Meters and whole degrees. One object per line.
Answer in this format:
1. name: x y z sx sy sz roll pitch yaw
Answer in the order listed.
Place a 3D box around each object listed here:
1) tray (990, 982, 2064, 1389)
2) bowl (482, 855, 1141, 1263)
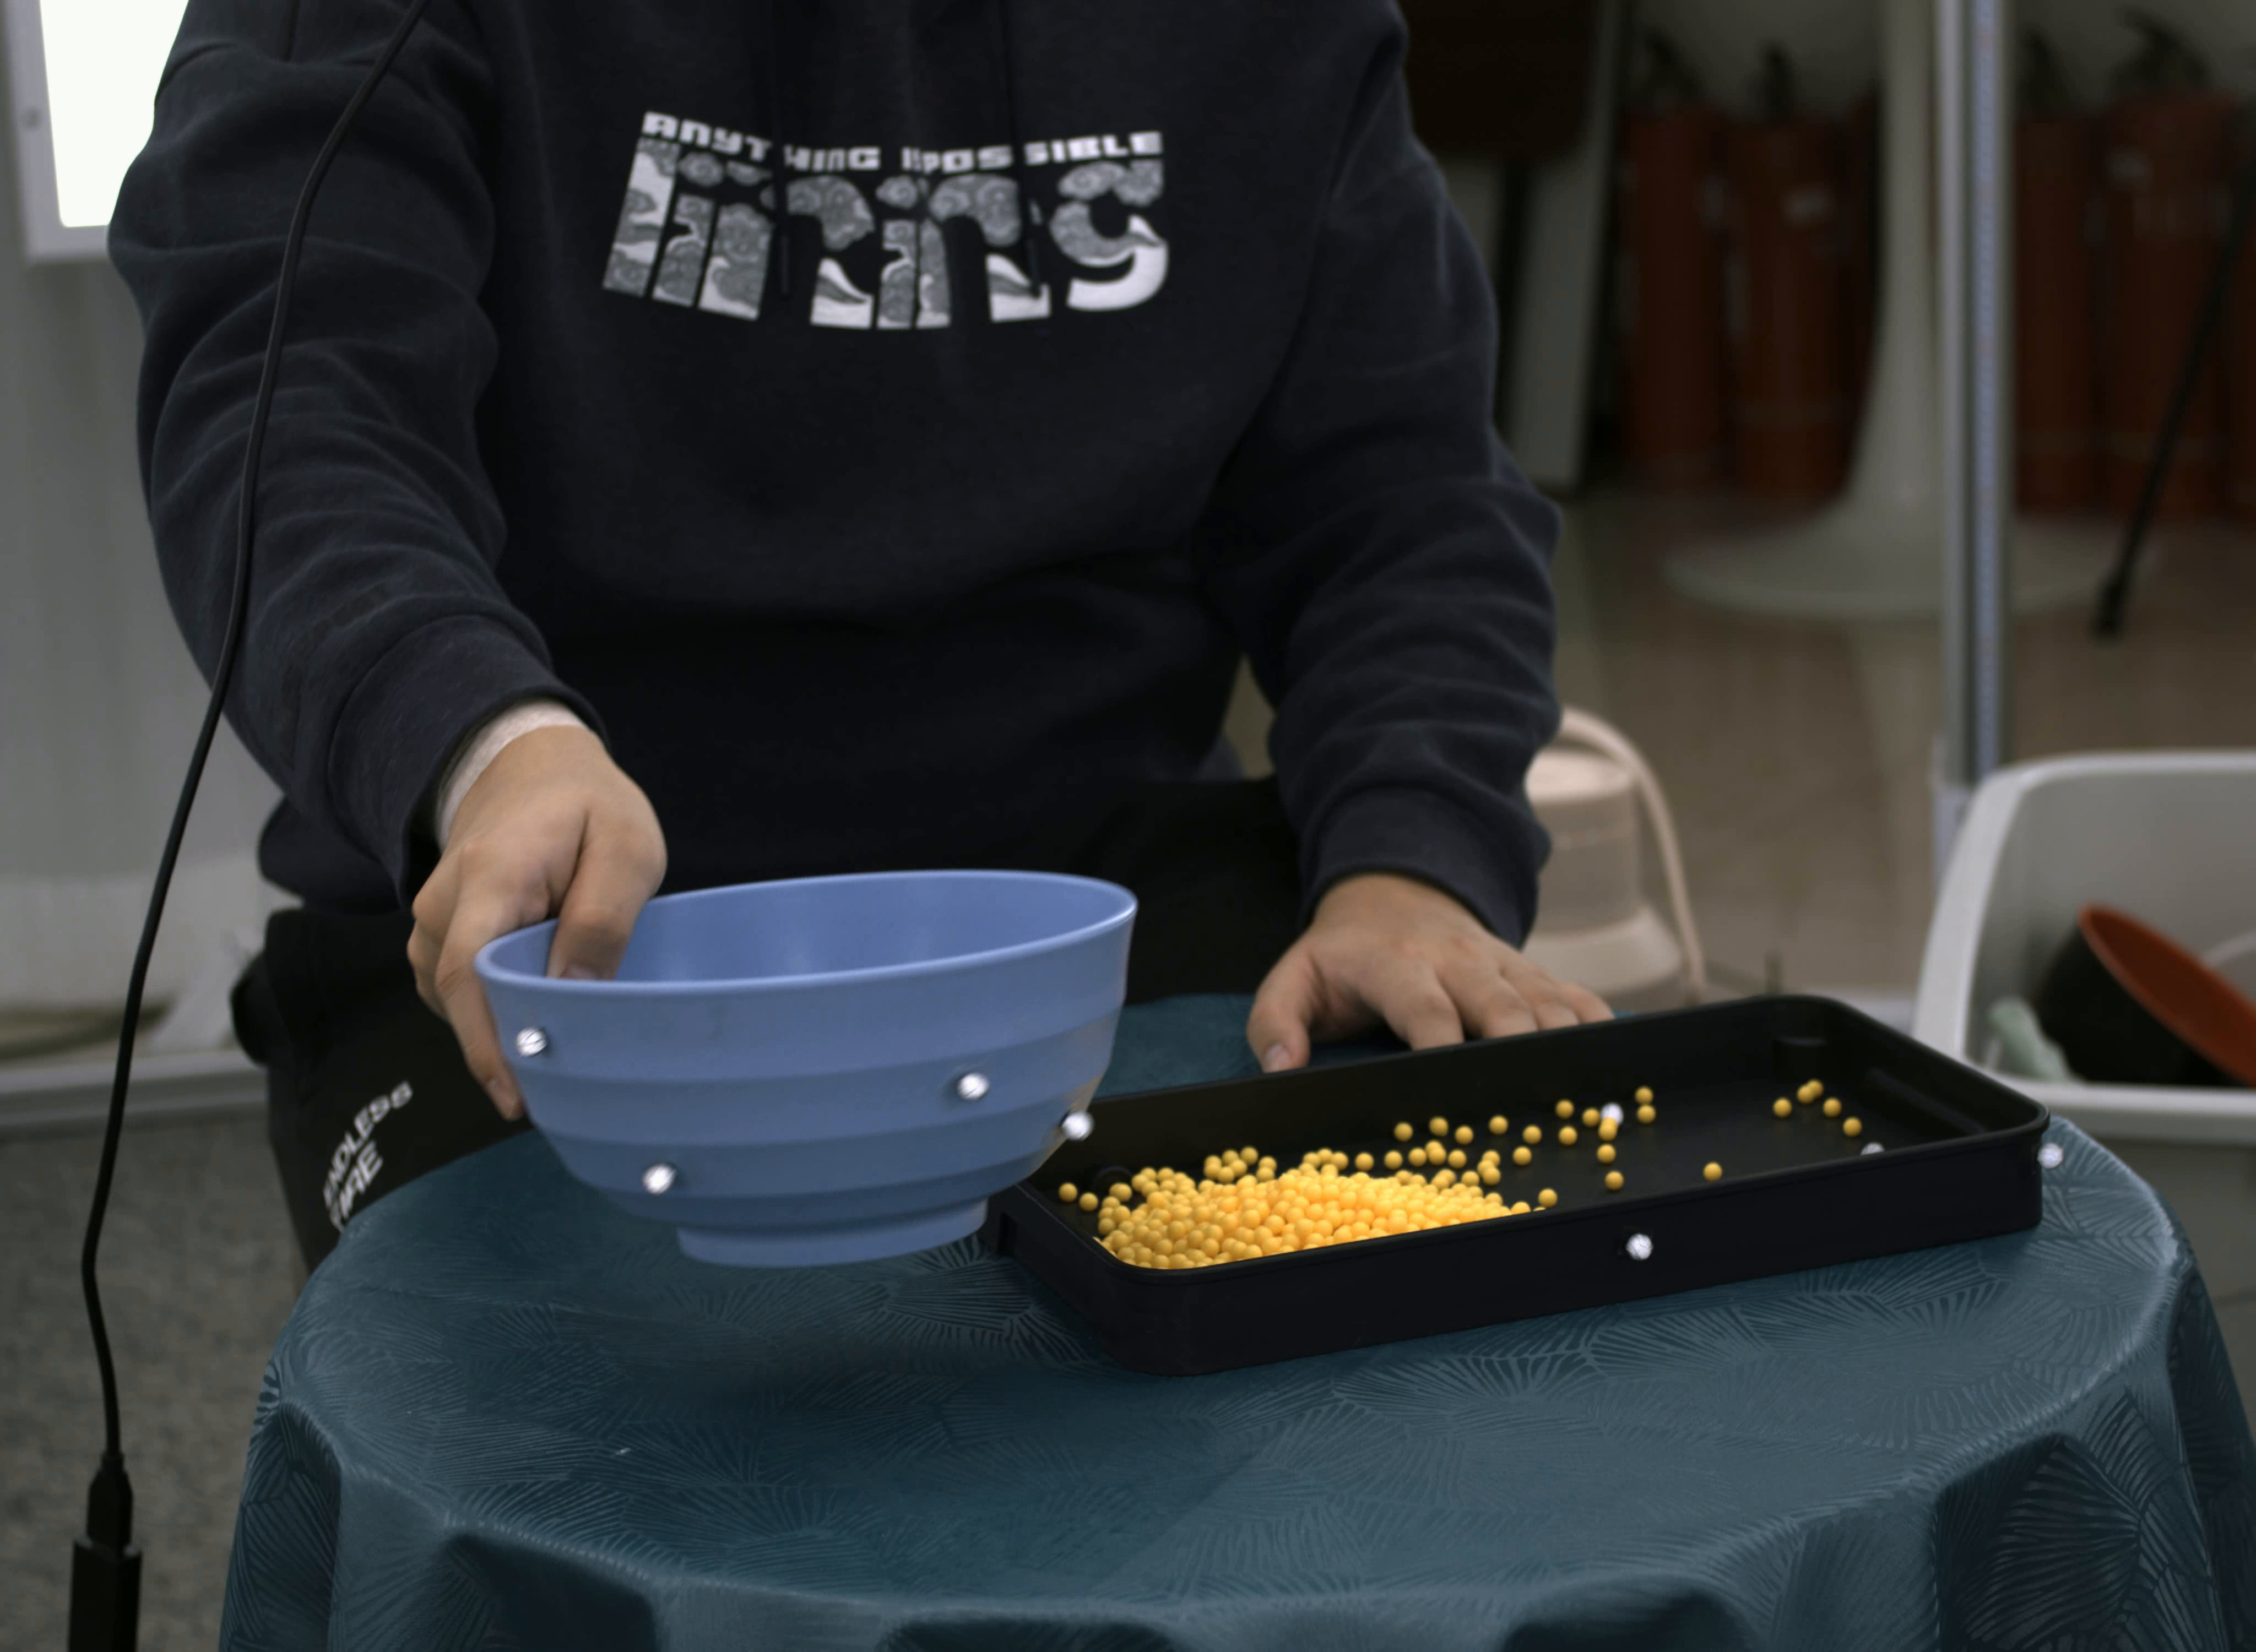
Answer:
1. tray: 0.124 0.110 1.714 0.311 0.037 0.186 -10 14 -19
2. bowl: -0.088 0.071 1.590 0.194 0.096 0.196 -6 8 0
